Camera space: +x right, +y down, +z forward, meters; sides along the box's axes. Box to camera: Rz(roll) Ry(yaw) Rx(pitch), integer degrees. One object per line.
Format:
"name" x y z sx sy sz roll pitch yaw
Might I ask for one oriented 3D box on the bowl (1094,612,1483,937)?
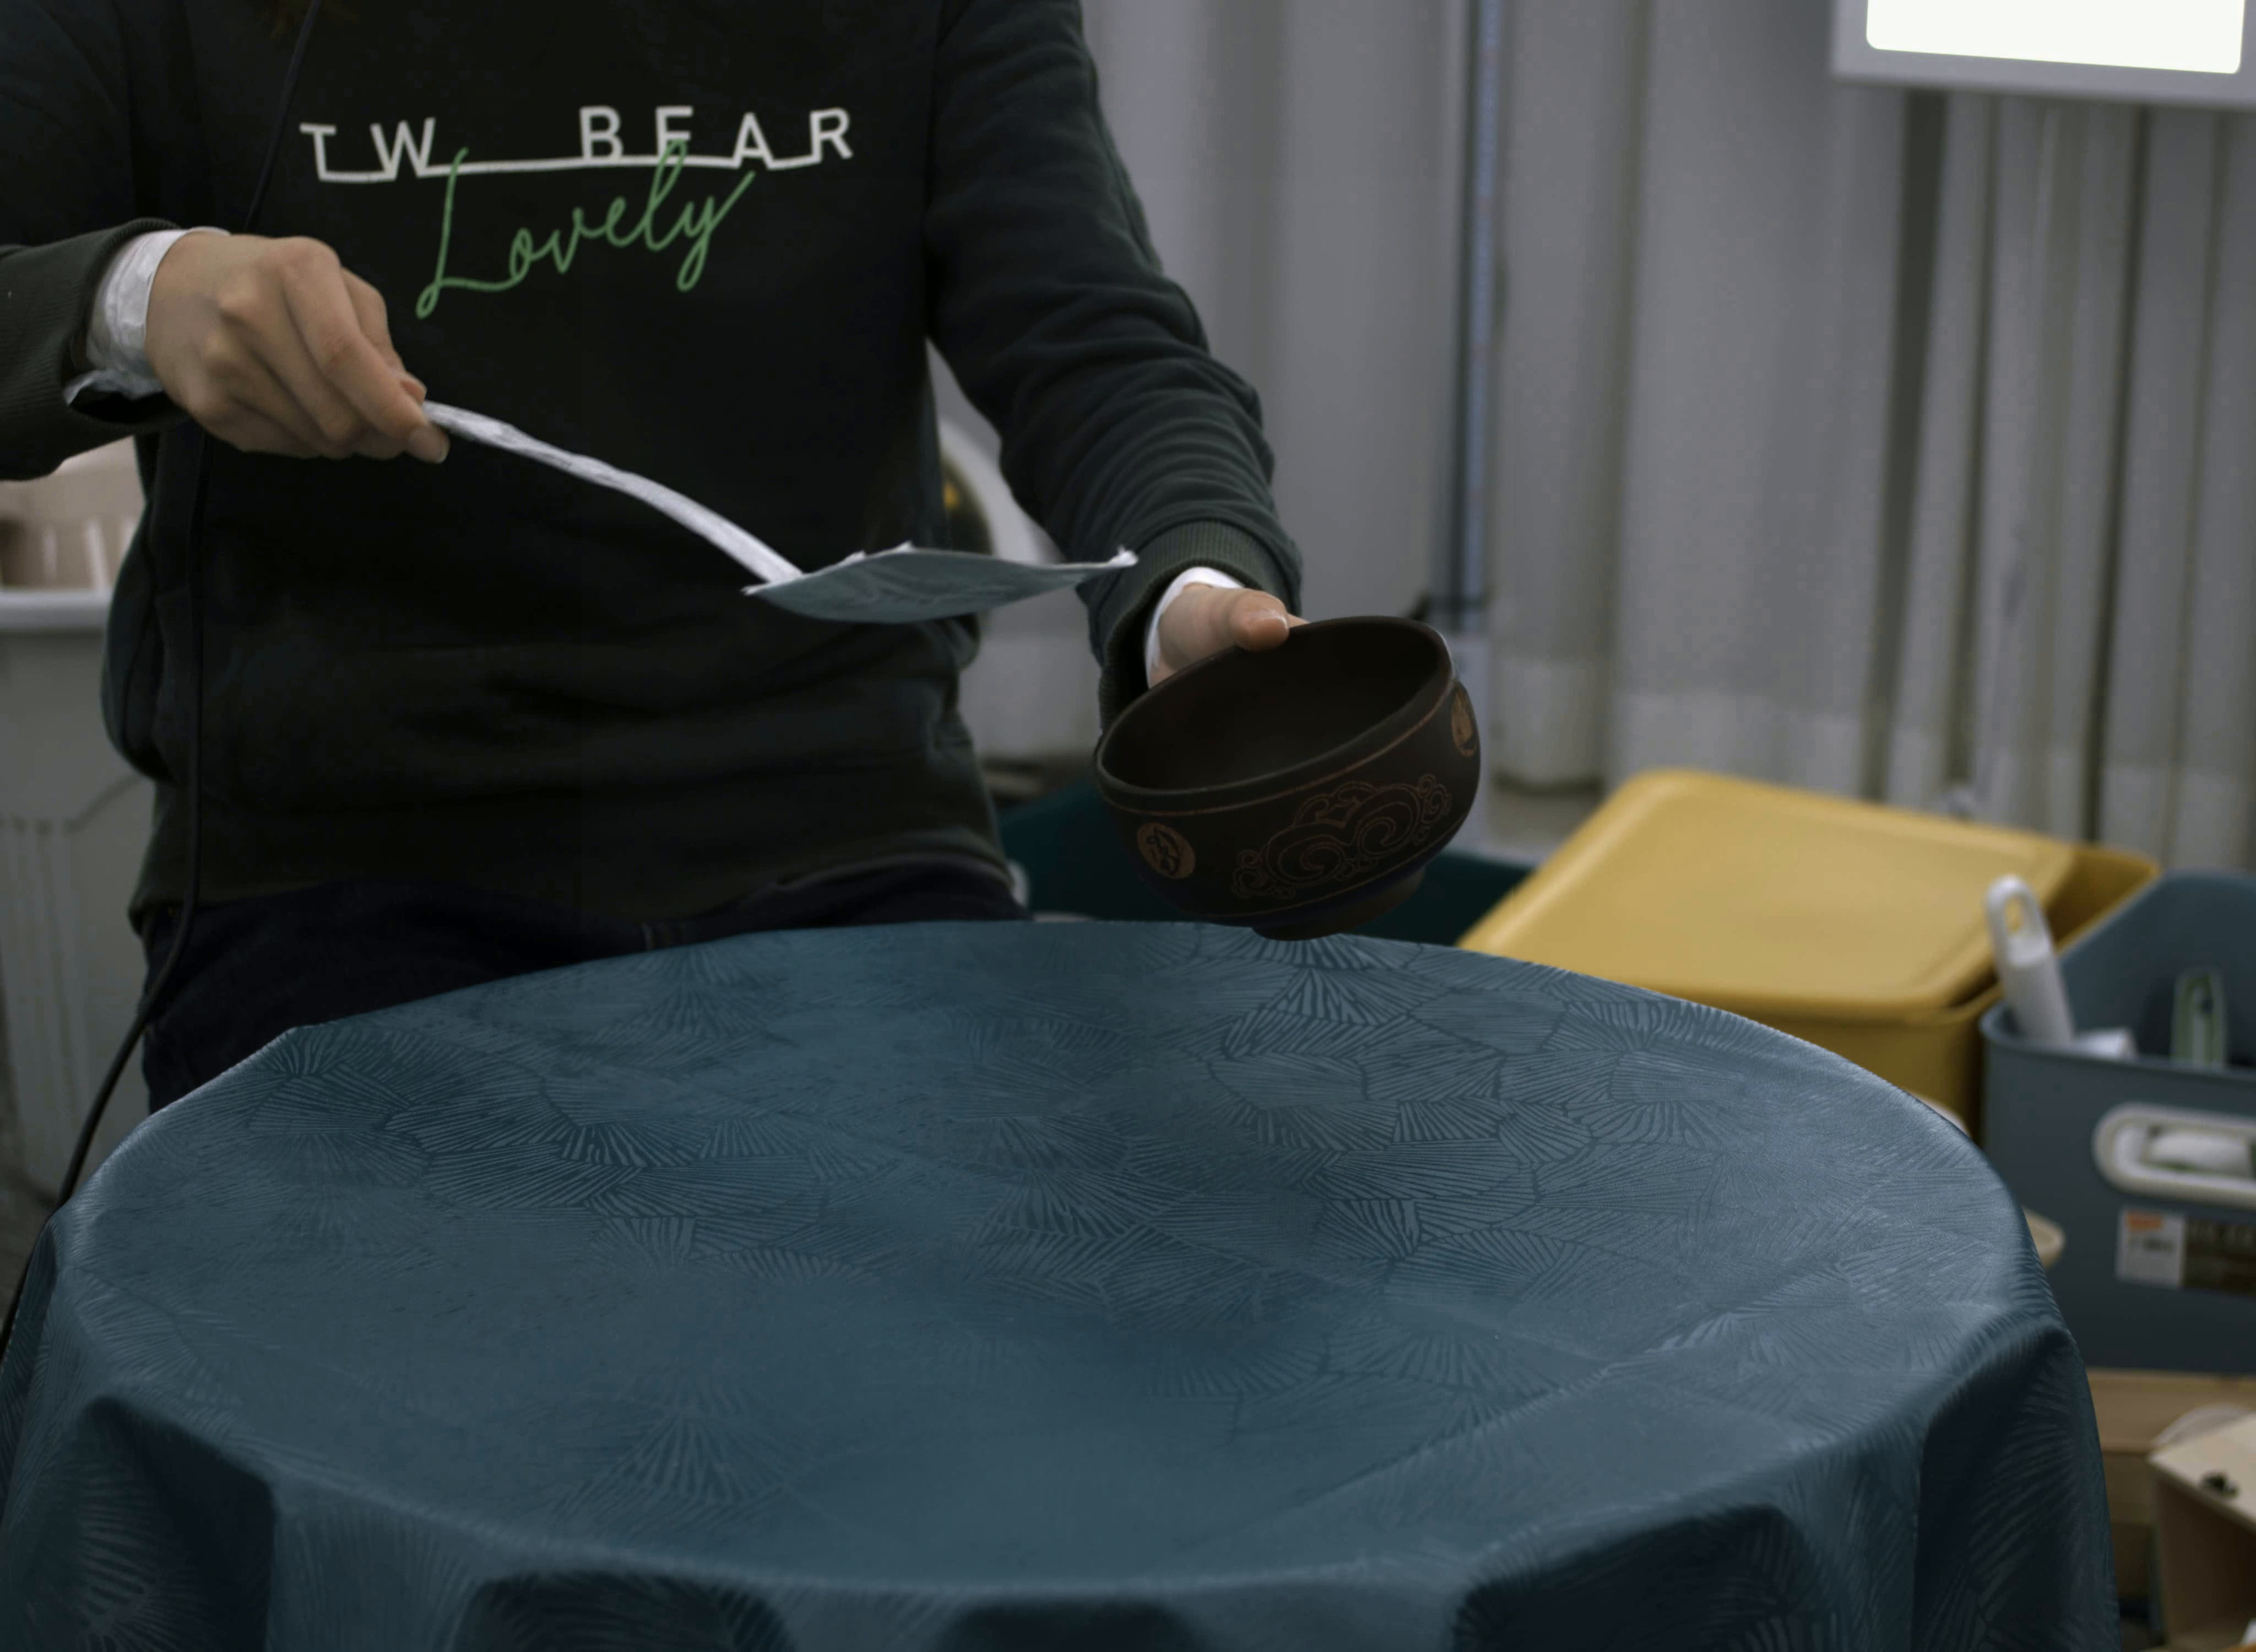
"bowl" 0.054 -0.009 1.618 0.117 0.070 0.117 -16 22 7

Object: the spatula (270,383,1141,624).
"spatula" -0.149 -0.107 1.577 0.360 0.045 0.099 22 17 40
